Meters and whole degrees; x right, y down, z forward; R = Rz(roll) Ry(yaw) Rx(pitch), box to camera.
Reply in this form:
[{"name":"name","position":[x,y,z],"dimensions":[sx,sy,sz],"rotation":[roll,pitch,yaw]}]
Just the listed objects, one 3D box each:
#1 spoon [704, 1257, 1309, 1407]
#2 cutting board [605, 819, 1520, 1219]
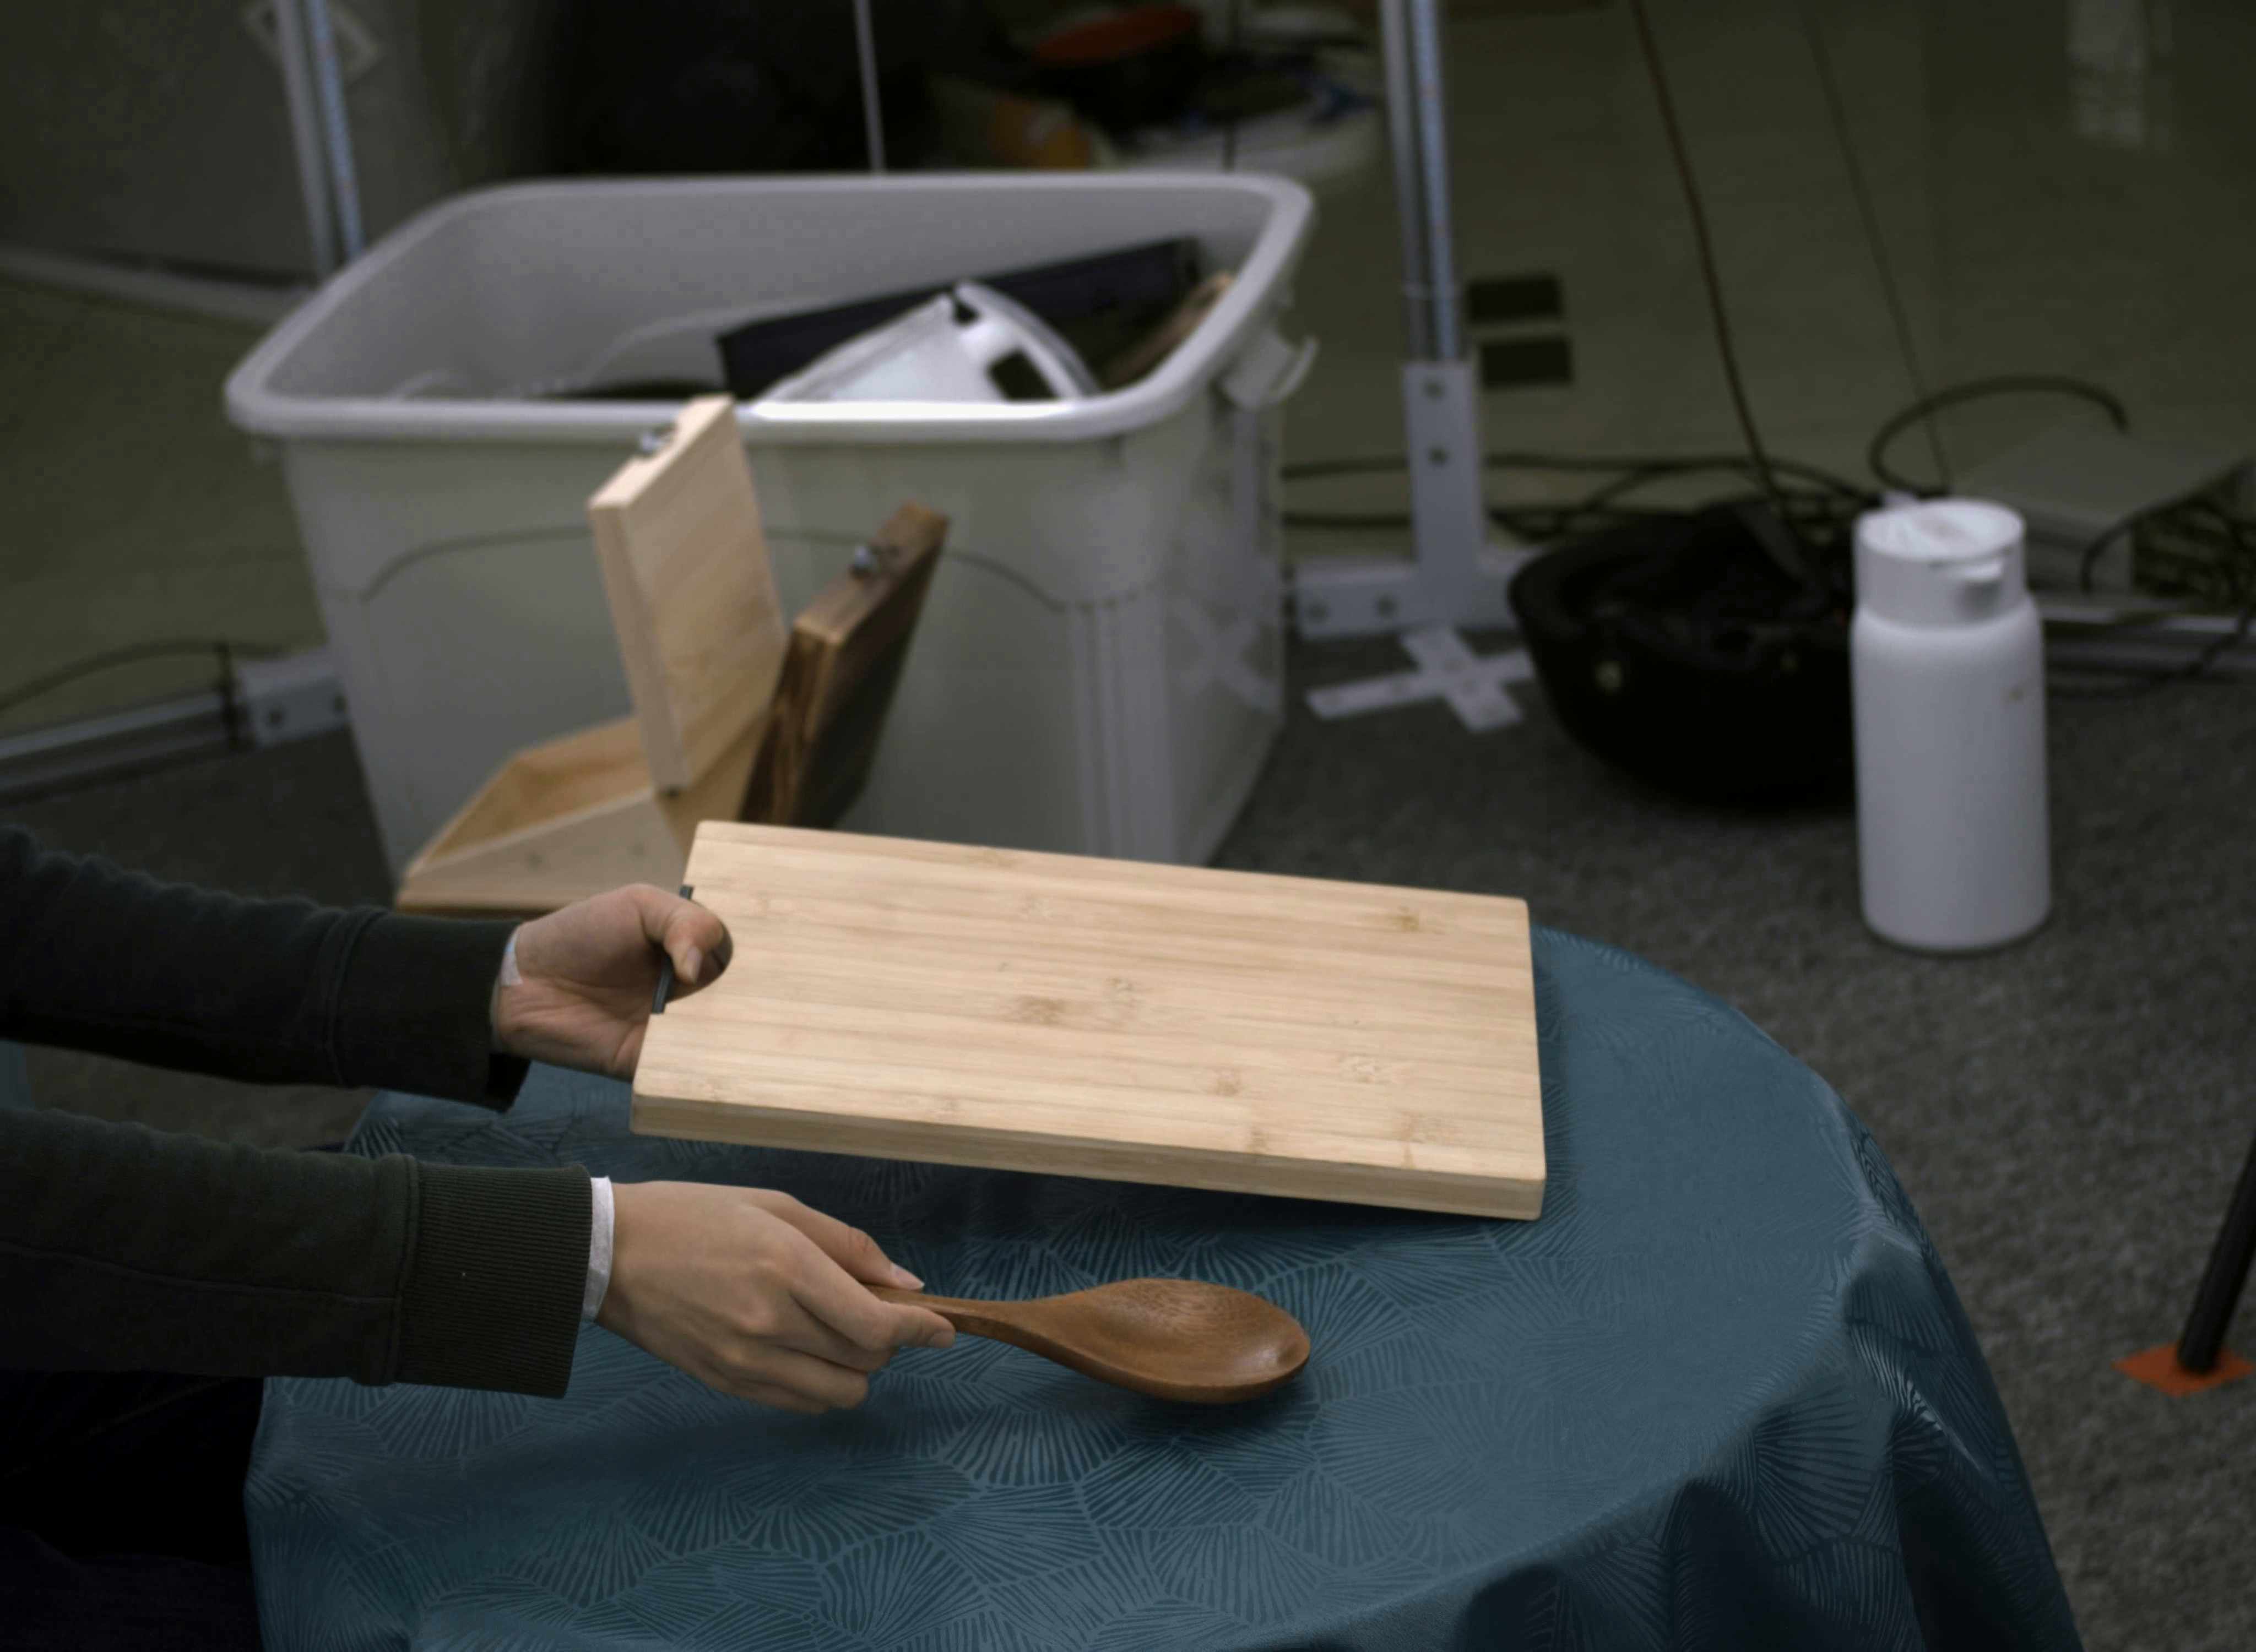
[{"name":"spoon","position":[-0.043,0.175,2.009],"dimensions":[0.215,0.017,0.074],"rotation":[8,28,0]},{"name":"cutting board","position":[-0.018,0.072,2.200],"dimensions":[0.348,0.024,0.247],"rotation":[5,25,-1]}]
